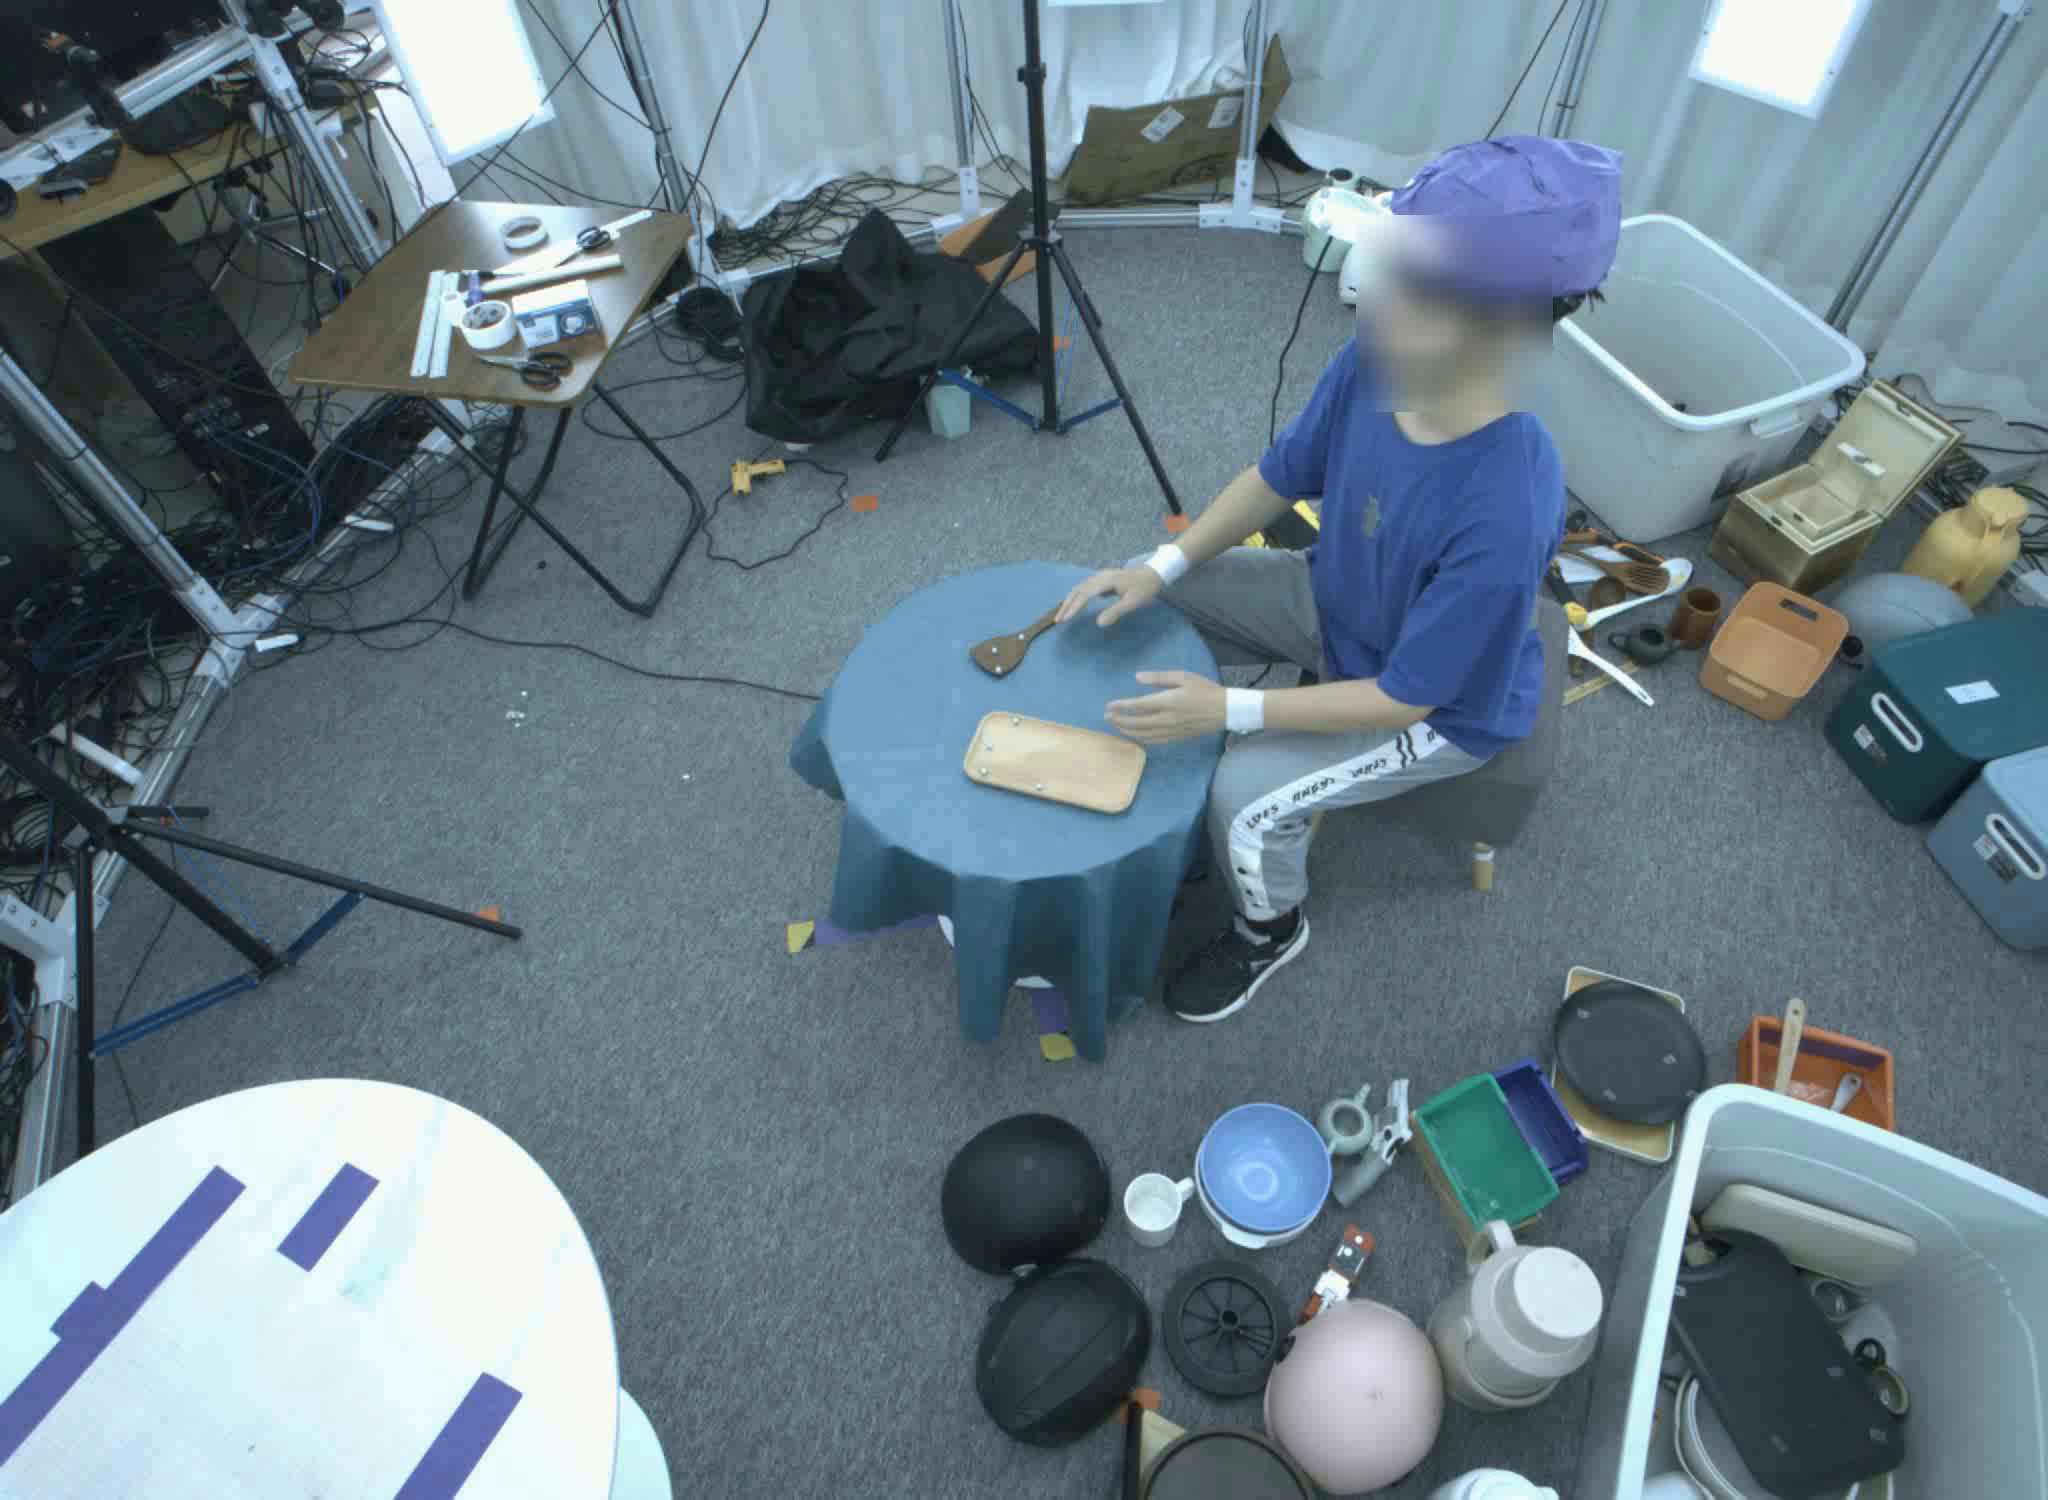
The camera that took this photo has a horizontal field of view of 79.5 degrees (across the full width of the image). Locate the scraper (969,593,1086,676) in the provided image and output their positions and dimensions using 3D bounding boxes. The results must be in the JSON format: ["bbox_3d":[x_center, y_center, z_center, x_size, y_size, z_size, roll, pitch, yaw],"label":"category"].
[{"bbox_3d":[0.013,-0.185,1.905,0.213,0.011,0.074,-36,62,-22],"label":"scraper"}]

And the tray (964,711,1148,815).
[{"bbox_3d":[0.045,0.017,1.753,0.248,0.023,0.130,14,59,11],"label":"tray"}]
